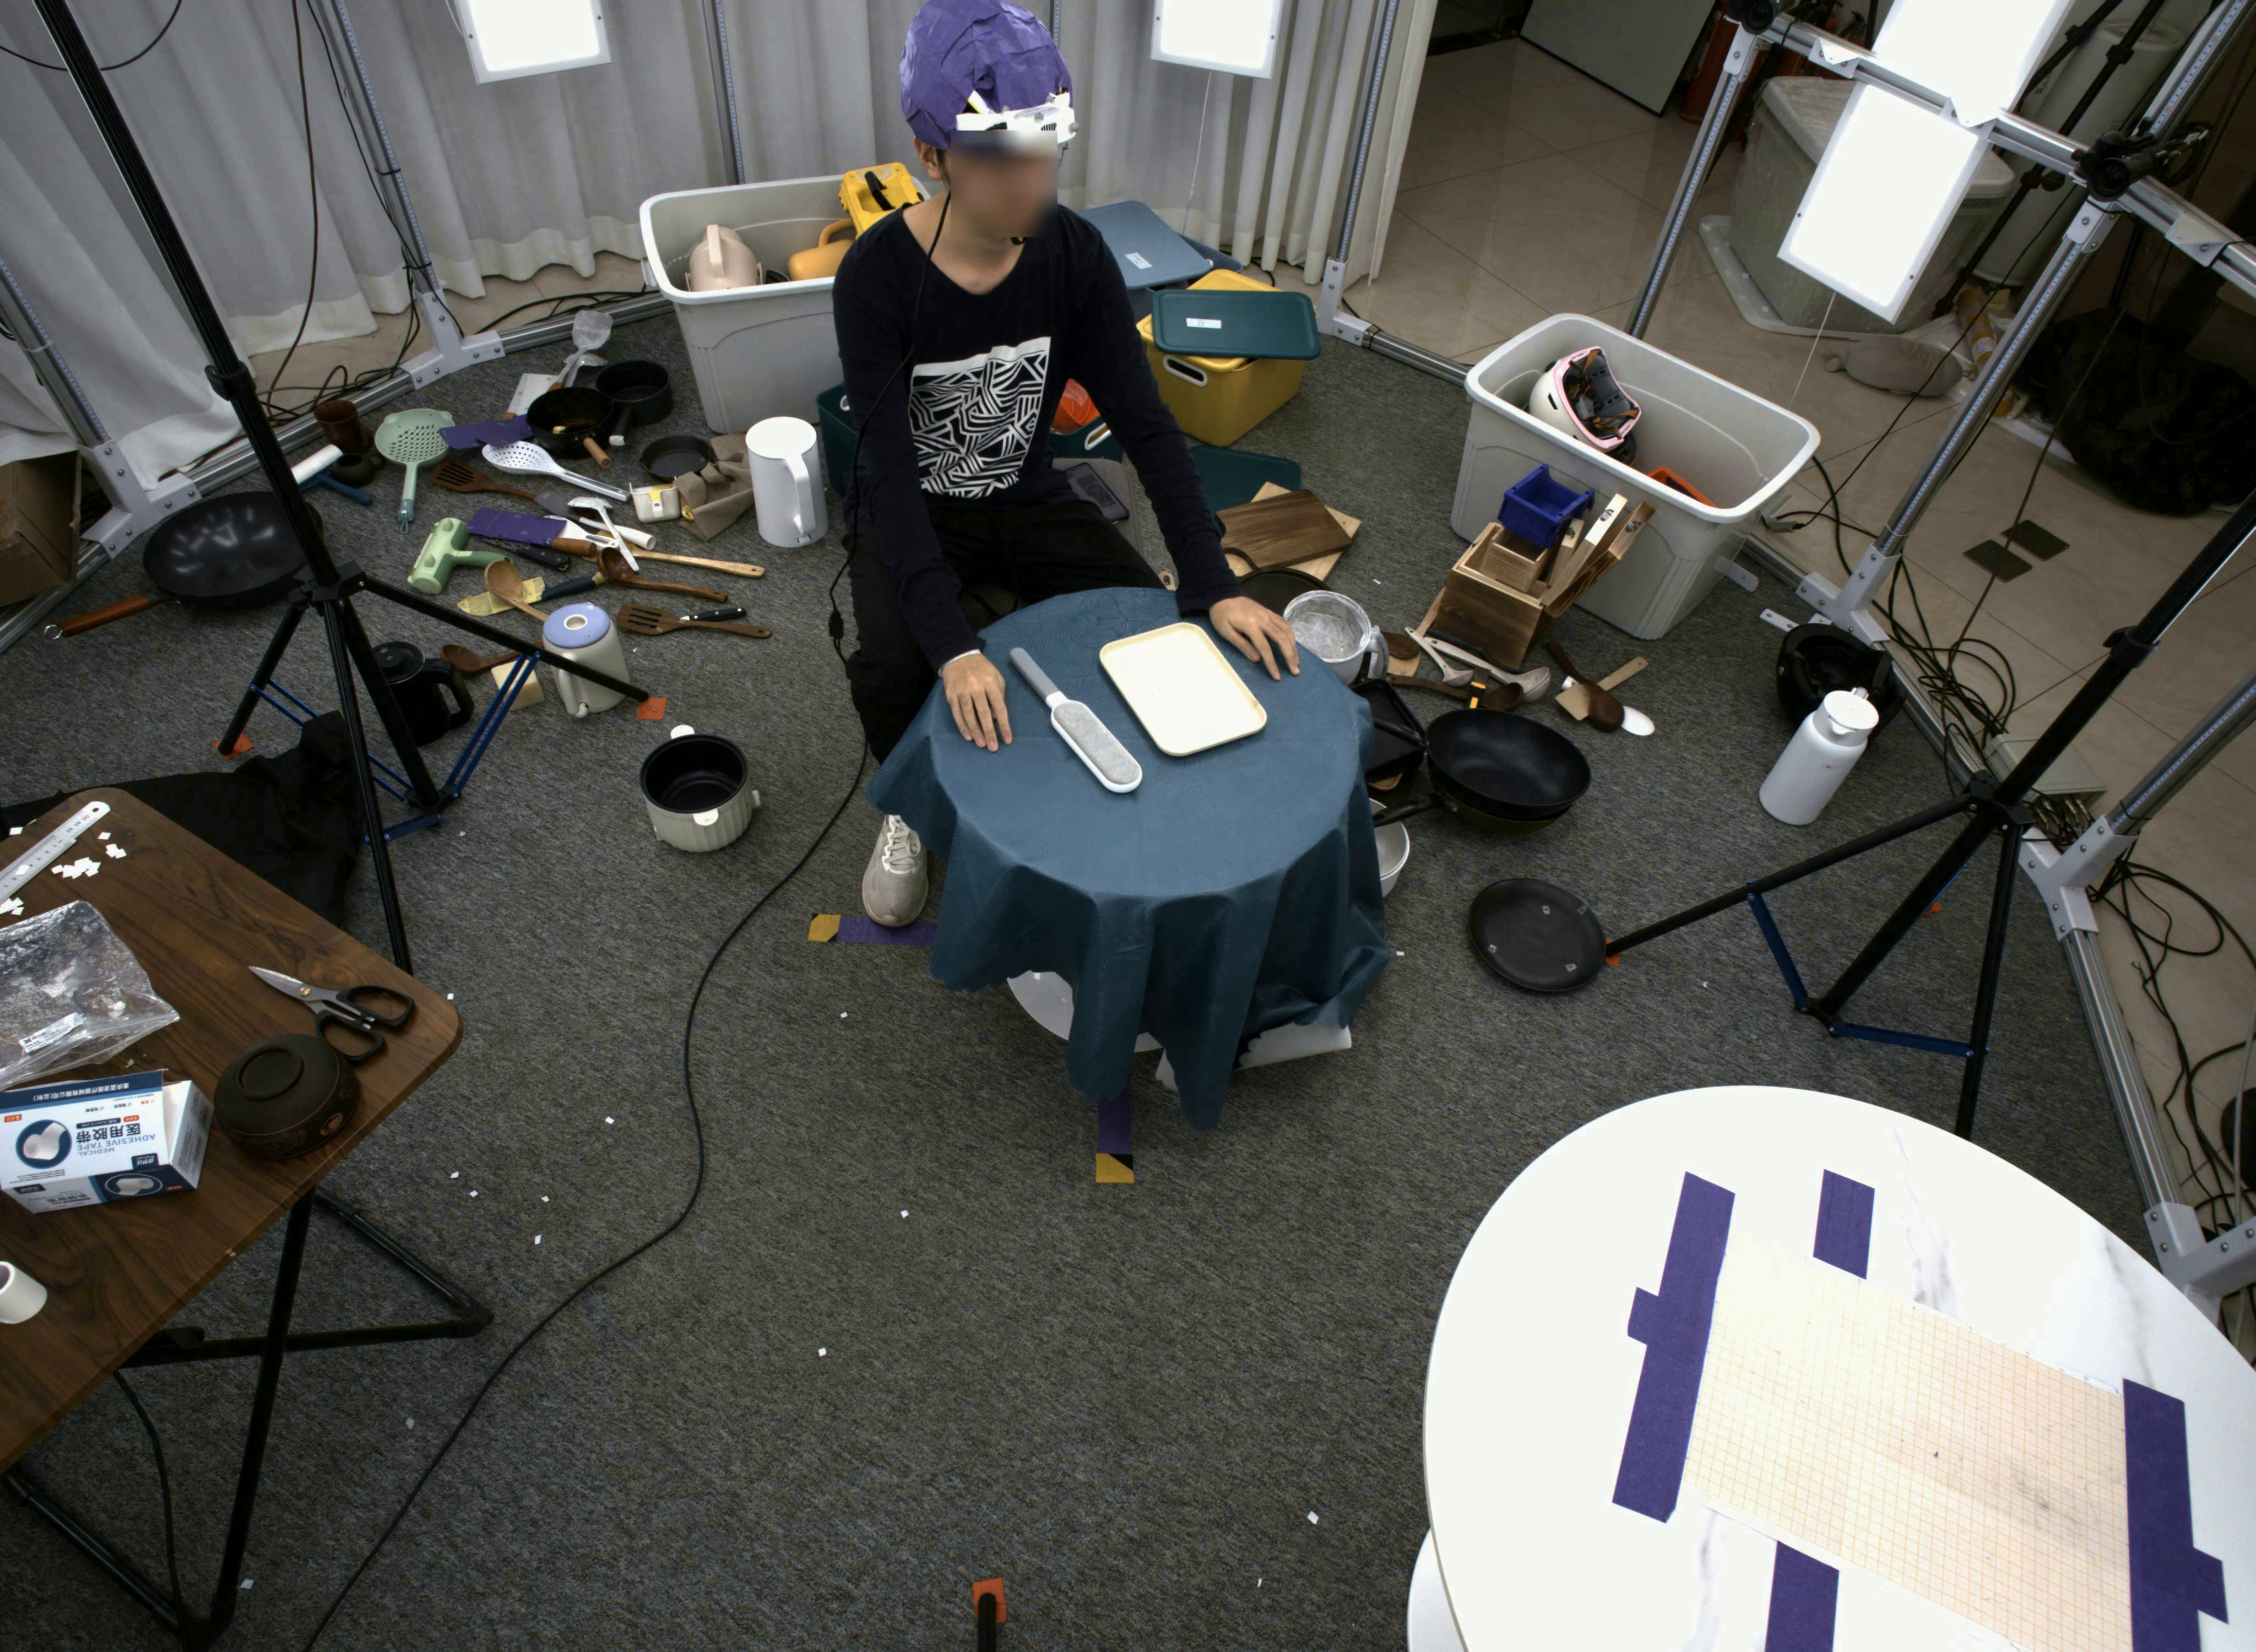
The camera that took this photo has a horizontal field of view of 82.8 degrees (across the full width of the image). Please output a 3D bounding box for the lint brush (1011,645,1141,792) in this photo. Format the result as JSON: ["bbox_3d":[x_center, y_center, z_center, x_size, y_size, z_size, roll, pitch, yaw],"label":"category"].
[{"bbox_3d":[-0.078,-0.155,1.779,0.060,0.020,0.315,-27,56,-19],"label":"lint brush"}]

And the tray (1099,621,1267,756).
[{"bbox_3d":[0.077,-0.198,1.833,0.171,0.017,0.245,-19,53,-18],"label":"tray"}]
